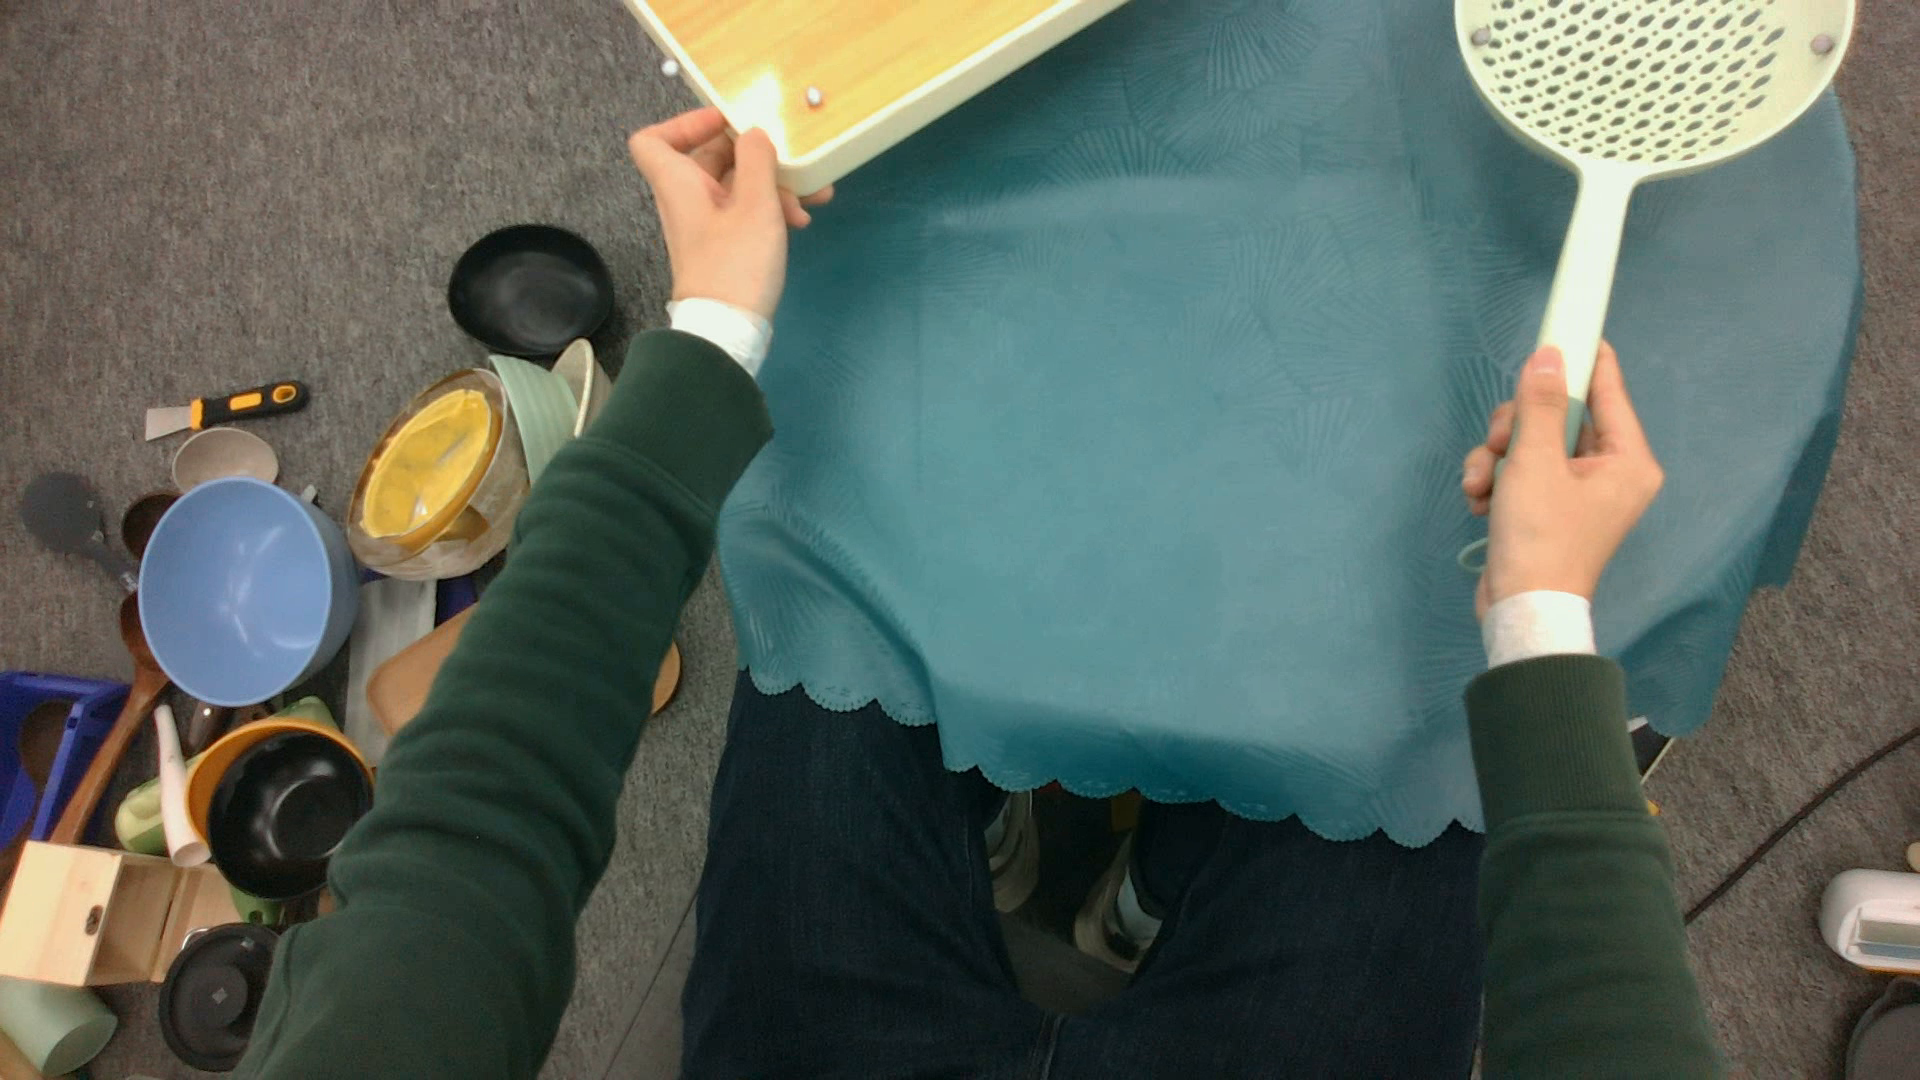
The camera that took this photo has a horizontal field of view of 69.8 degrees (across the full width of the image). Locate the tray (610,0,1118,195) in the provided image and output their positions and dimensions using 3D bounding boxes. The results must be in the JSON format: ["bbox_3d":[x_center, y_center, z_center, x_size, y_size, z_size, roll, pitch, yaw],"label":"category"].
[{"bbox_3d":[-0.021,-0.313,0.699,0.301,0.027,0.192,-34,71,-11],"label":"tray"}]

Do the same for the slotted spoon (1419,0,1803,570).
[{"bbox_3d":[0.275,-0.159,0.632,0.169,0.075,0.360,15,69,14],"label":"slotted spoon"}]
